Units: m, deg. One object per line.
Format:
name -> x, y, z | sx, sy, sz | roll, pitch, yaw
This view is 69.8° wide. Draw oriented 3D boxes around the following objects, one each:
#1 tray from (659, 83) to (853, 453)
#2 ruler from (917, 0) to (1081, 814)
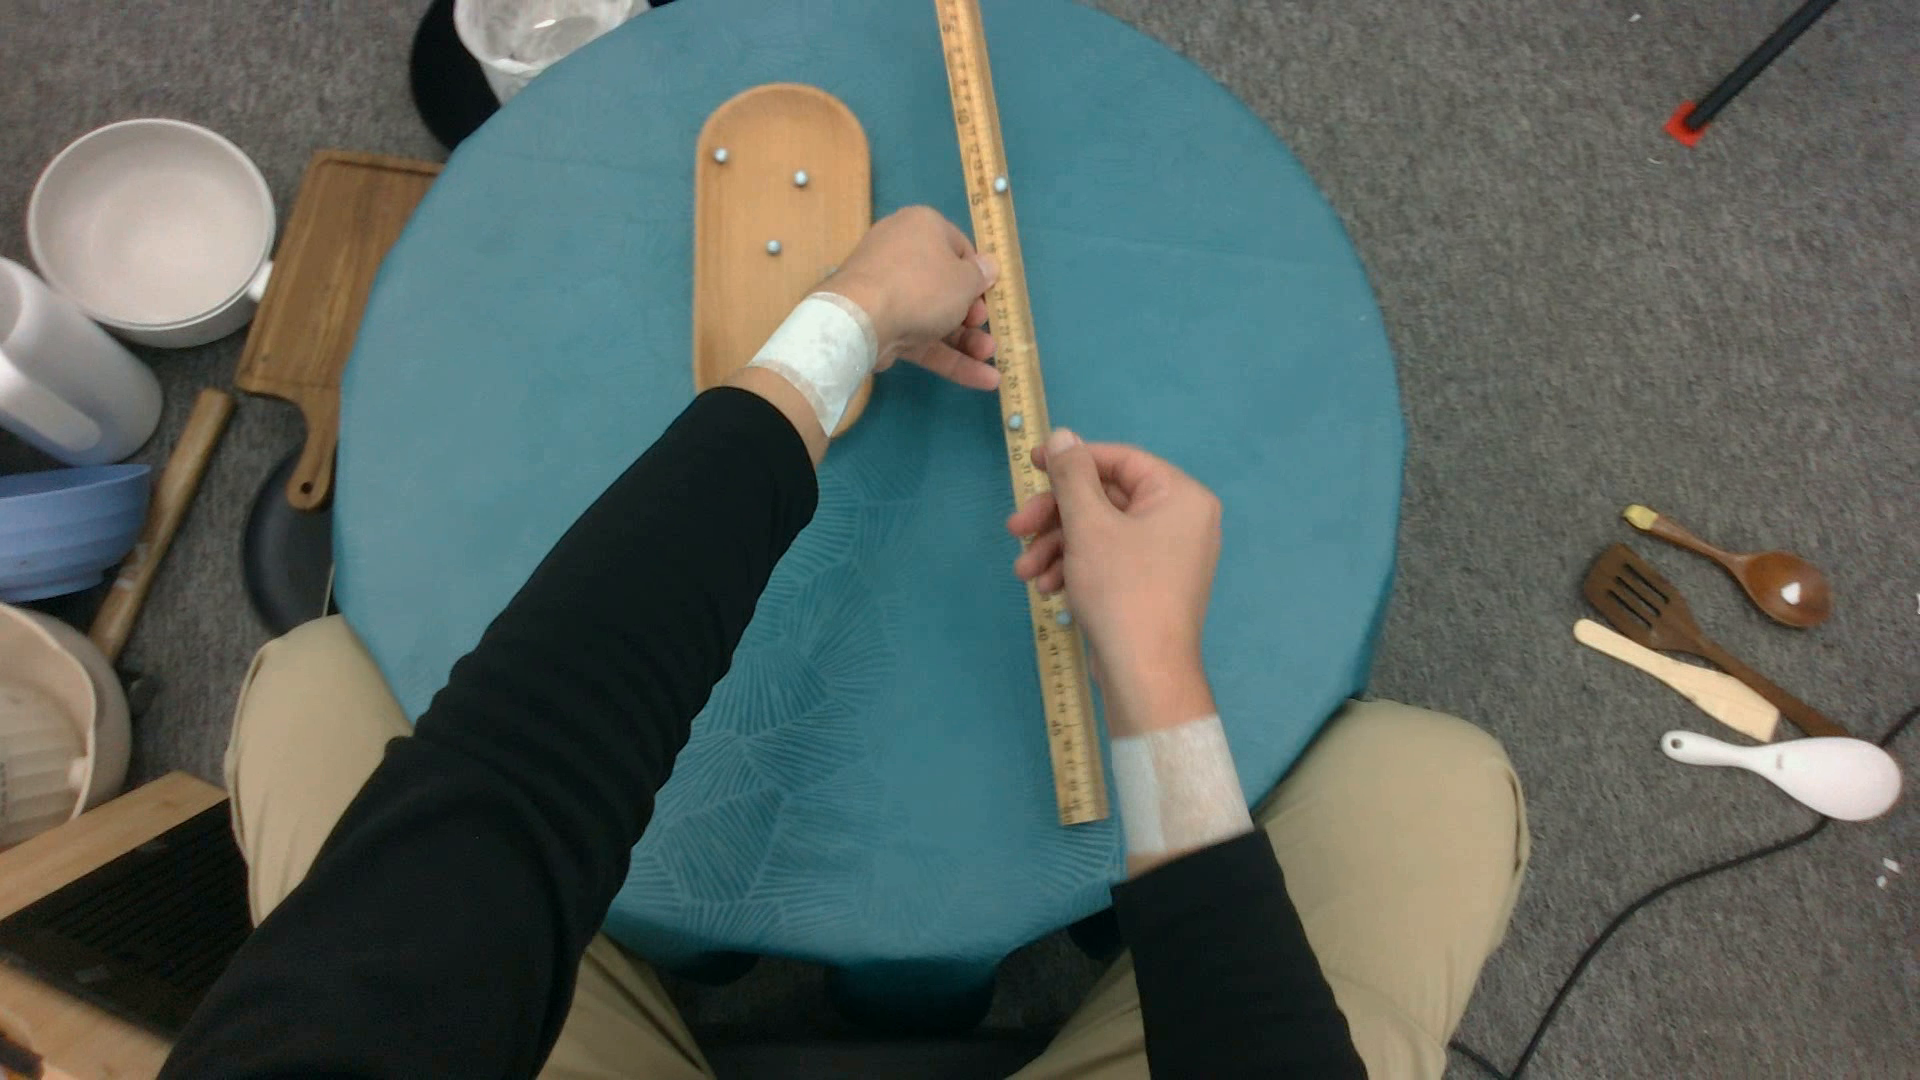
tray -> -0.118, -0.159, 0.791 | 0.102, 0.020, 0.231 | -5, 75, -4
ruler -> 0.017, -0.101, 0.766 | 0.027, 0.006, 0.501 | -6, 77, -7
